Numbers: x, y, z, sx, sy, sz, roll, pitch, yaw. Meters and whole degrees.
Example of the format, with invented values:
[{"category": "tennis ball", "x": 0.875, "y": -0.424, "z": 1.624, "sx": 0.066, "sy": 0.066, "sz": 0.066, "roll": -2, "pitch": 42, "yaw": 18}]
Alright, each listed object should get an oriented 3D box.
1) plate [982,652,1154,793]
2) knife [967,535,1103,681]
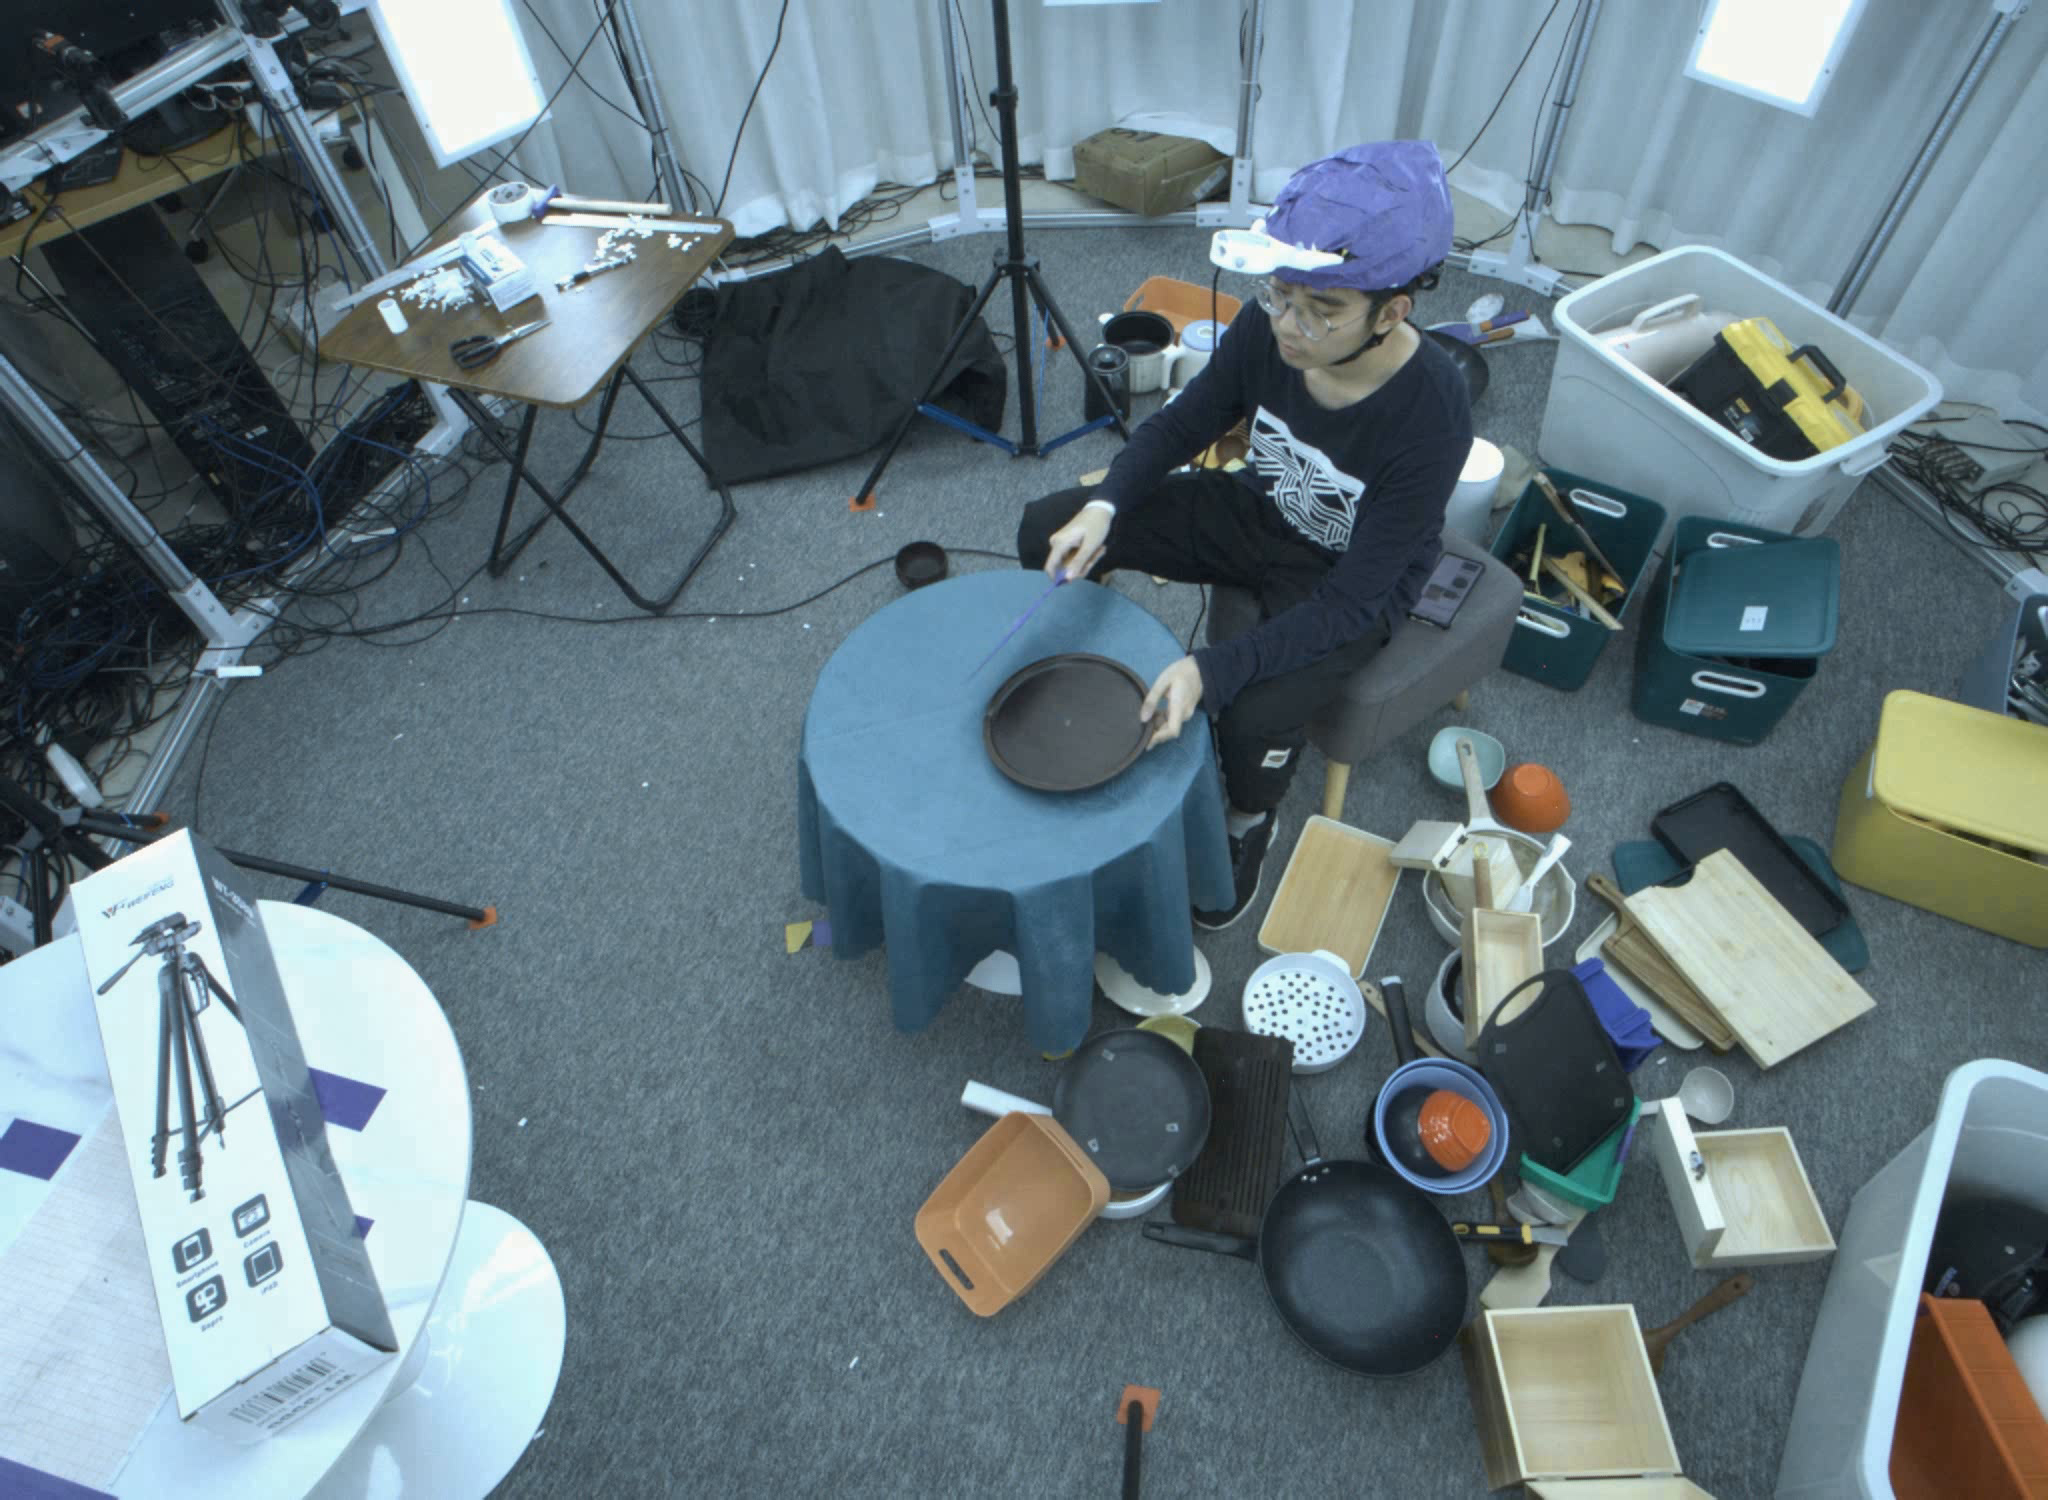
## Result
[{"category": "plate", "x": 0.064, "y": -0.041, "z": 1.793, "sx": 0.253, "sy": 0.029, "sz": 0.252, "roll": -5, "pitch": 54, "yaw": 8}, {"category": "knife", "x": 0.012, "y": -0.216, "z": 1.843, "sx": 0.032, "sy": 0.103, "sz": 0.317, "roll": 45, "pitch": 55, "yaw": -5}]
